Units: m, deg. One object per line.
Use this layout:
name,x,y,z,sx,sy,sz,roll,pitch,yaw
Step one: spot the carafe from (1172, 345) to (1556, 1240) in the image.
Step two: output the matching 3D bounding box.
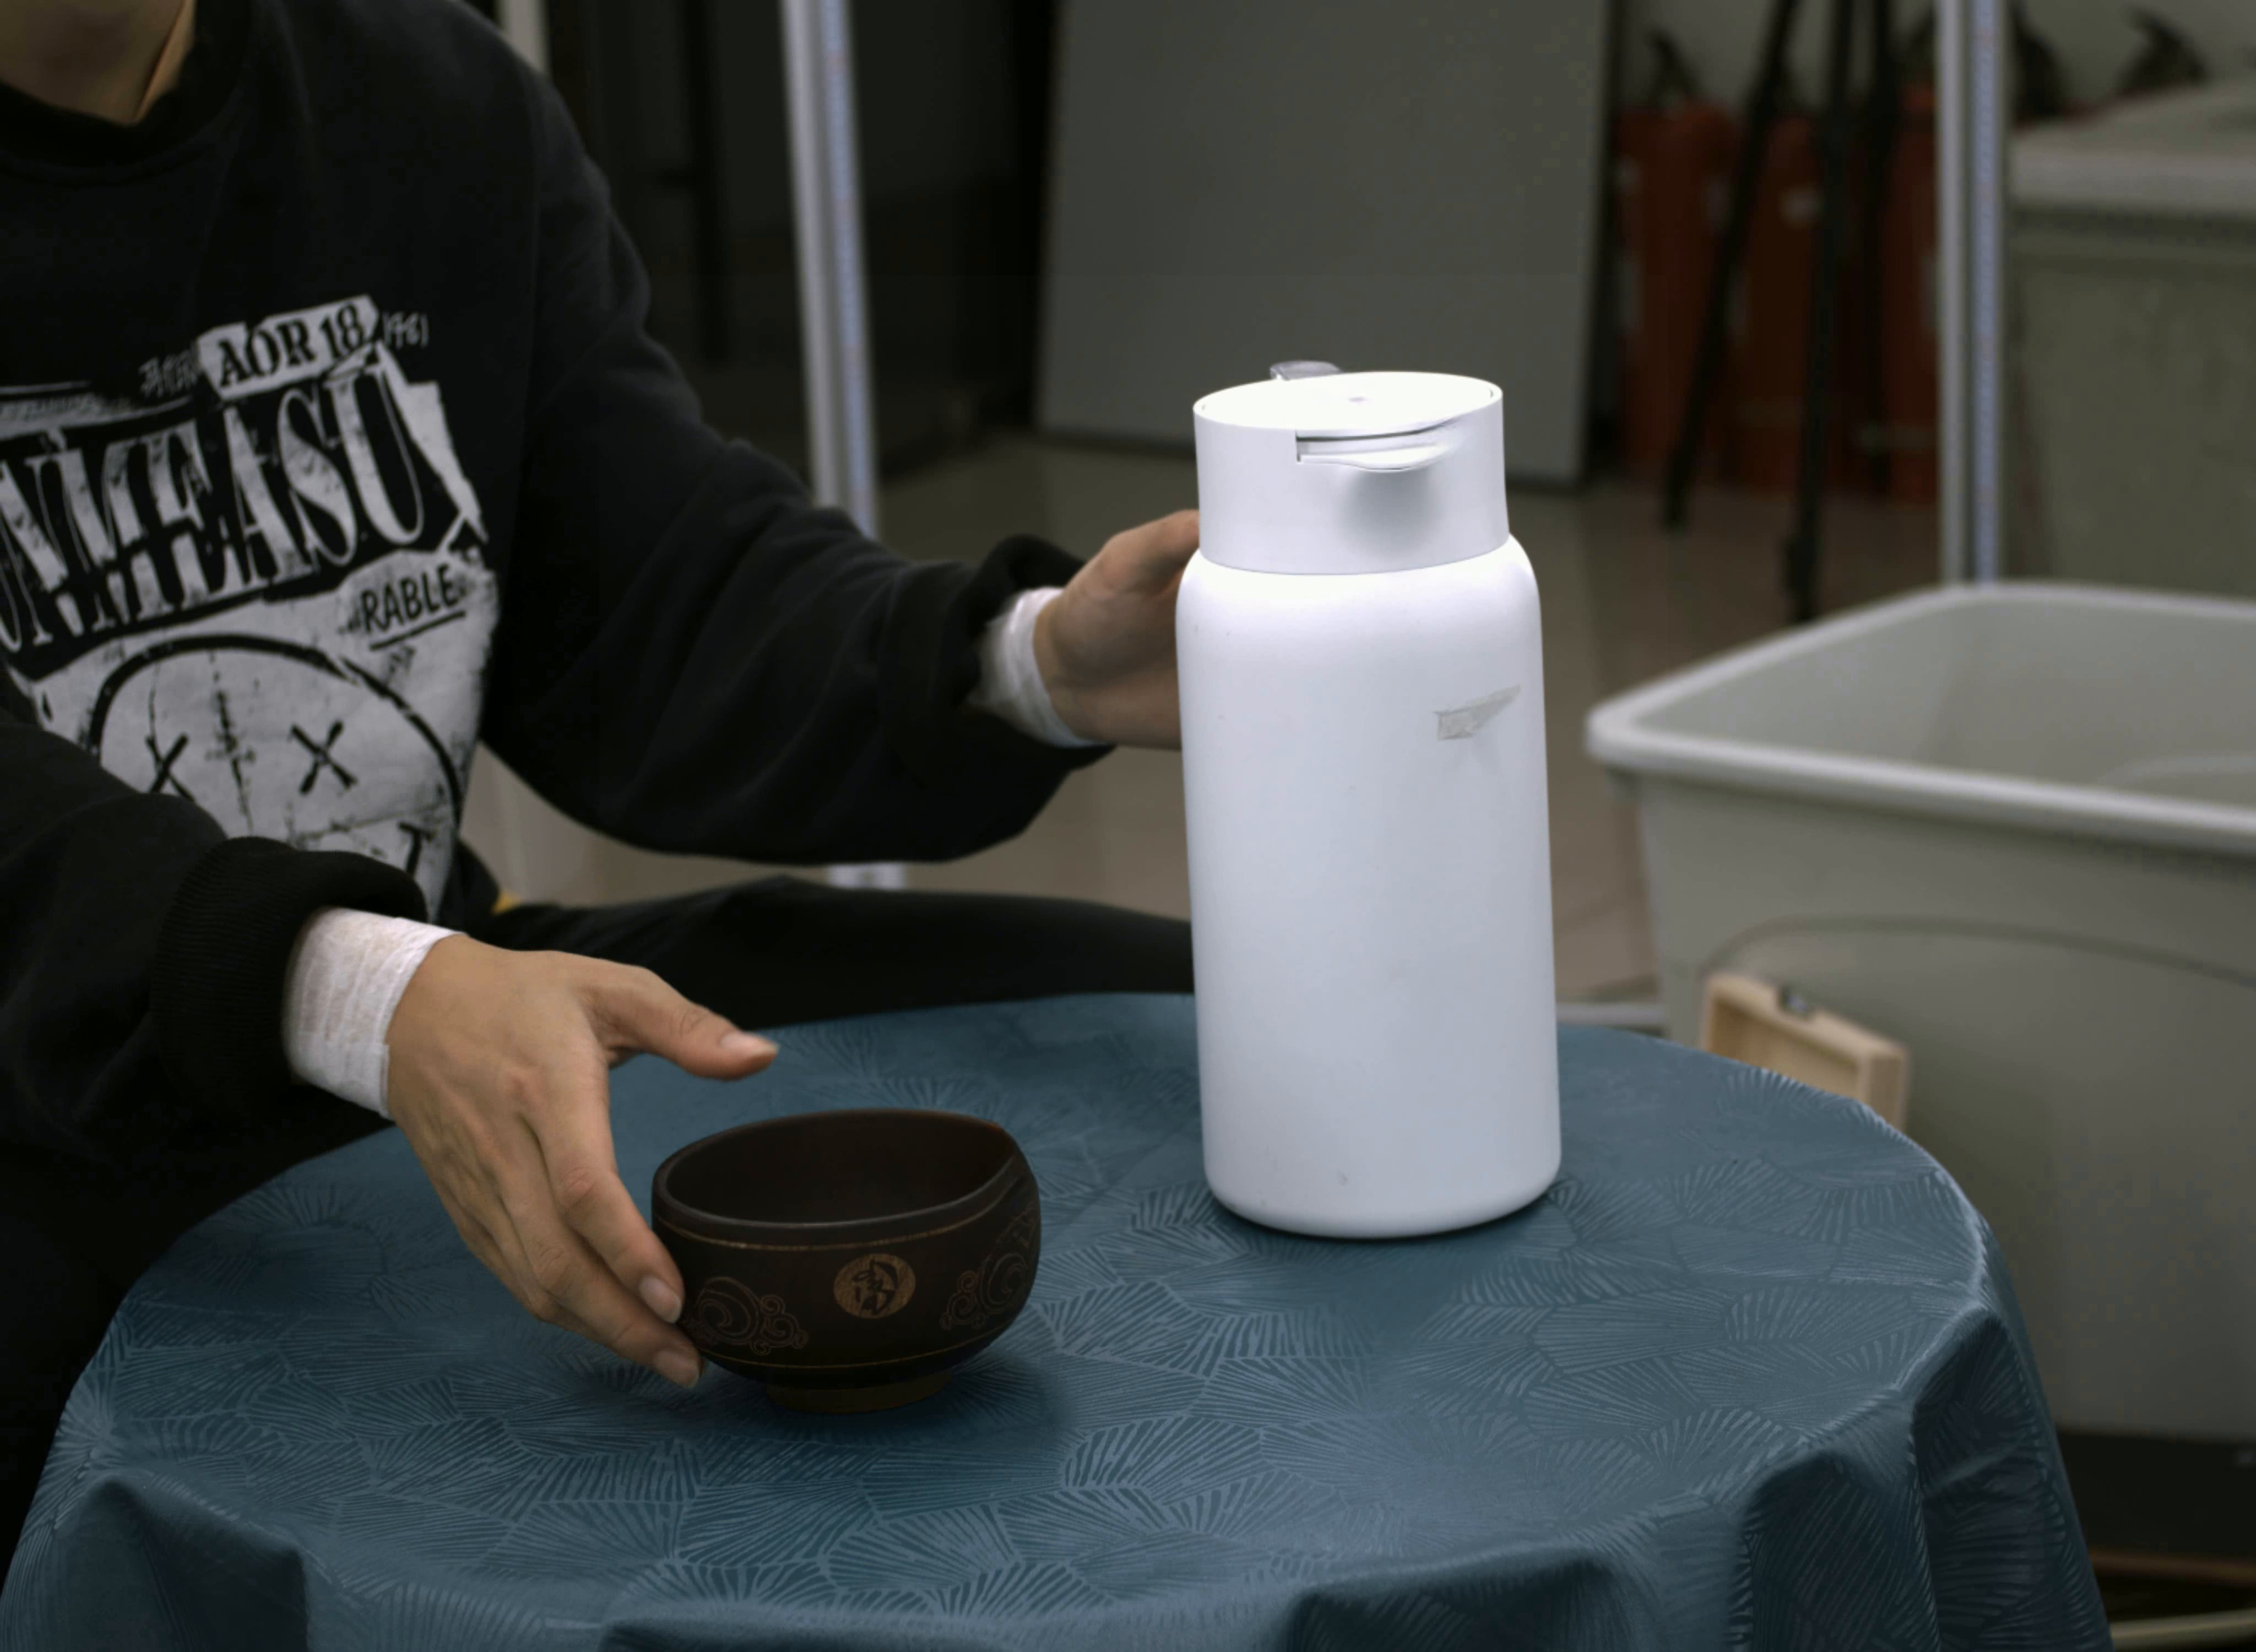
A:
carafe,0.070,-0.014,1.740,0.121,0.272,0.174,-8,14,-11

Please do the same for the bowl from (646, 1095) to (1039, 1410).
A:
bowl,-0.084,0.131,1.606,0.116,0.070,0.118,-3,15,0
